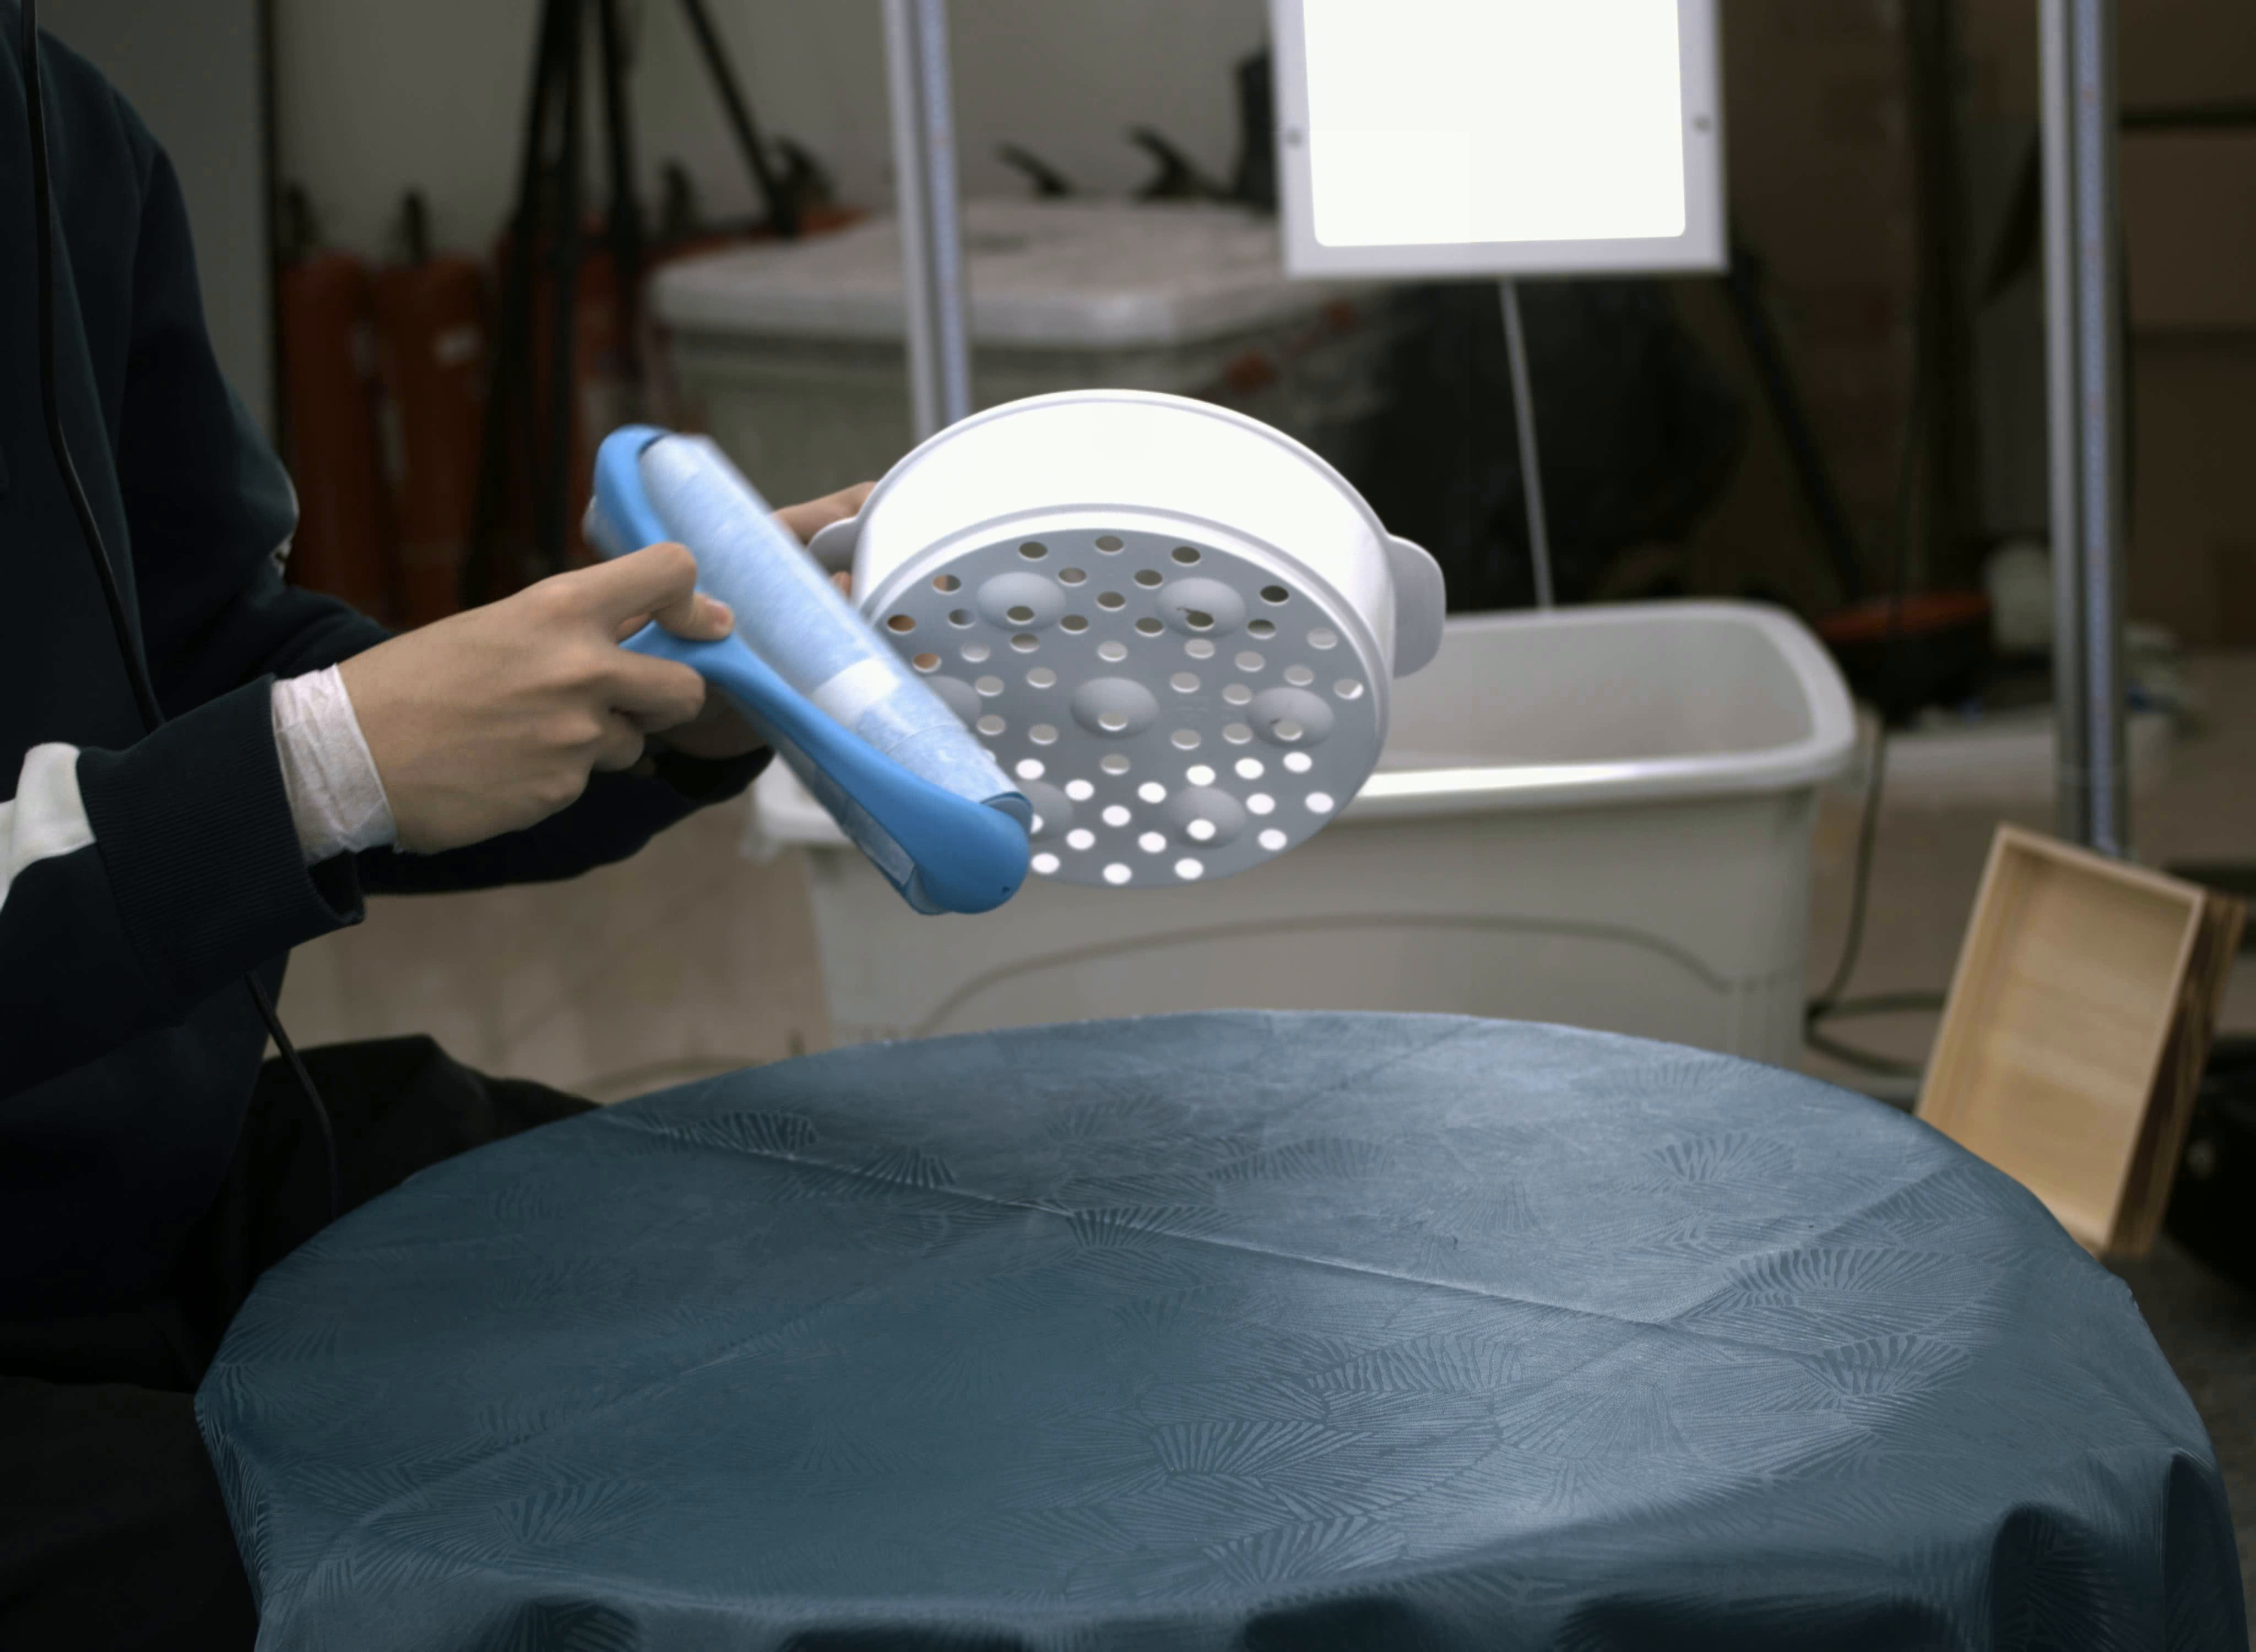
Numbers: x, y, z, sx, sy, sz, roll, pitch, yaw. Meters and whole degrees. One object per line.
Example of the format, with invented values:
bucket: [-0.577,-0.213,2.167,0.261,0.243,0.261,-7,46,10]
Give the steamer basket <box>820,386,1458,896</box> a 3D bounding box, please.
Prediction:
steamer basket: [0.001,-0.059,1.933,0.231,0.203,0.069,1,47,5]

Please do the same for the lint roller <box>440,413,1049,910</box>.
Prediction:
lint roller: [-0.146,-0.042,1.836,0.176,0.069,0.231,-19,57,-41]
